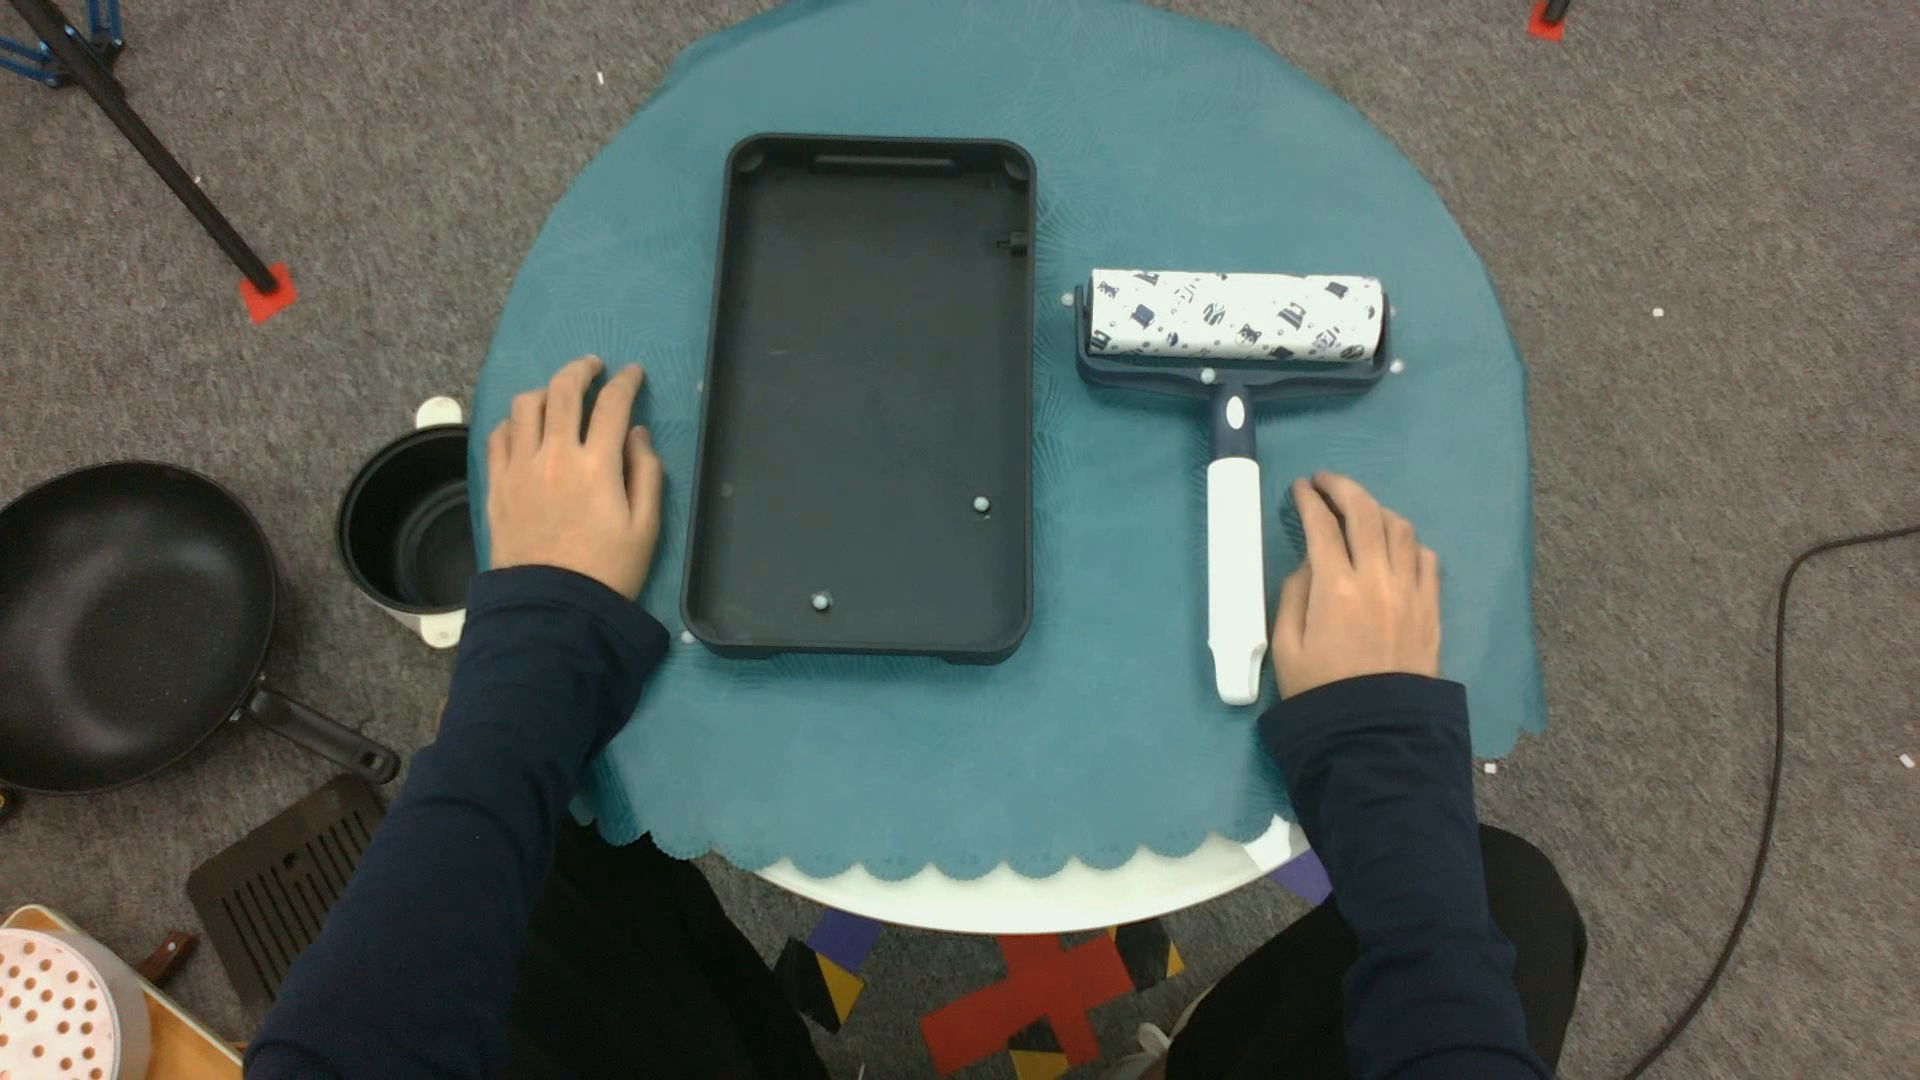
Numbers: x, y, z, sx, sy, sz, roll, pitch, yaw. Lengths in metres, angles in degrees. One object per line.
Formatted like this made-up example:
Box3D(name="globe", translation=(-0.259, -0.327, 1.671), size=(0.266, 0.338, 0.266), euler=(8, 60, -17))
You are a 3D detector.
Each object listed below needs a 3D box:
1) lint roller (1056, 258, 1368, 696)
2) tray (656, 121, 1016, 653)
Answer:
Box3D(name="lint roller", translation=(0.141, -0.039, 0.754), size=(0.176, 0.050, 0.248), euler=(2, 72, -2))
Box3D(name="tray", translation=(-0.062, -0.093, 0.772), size=(0.184, 0.037, 0.319), euler=(2, 69, 0))
